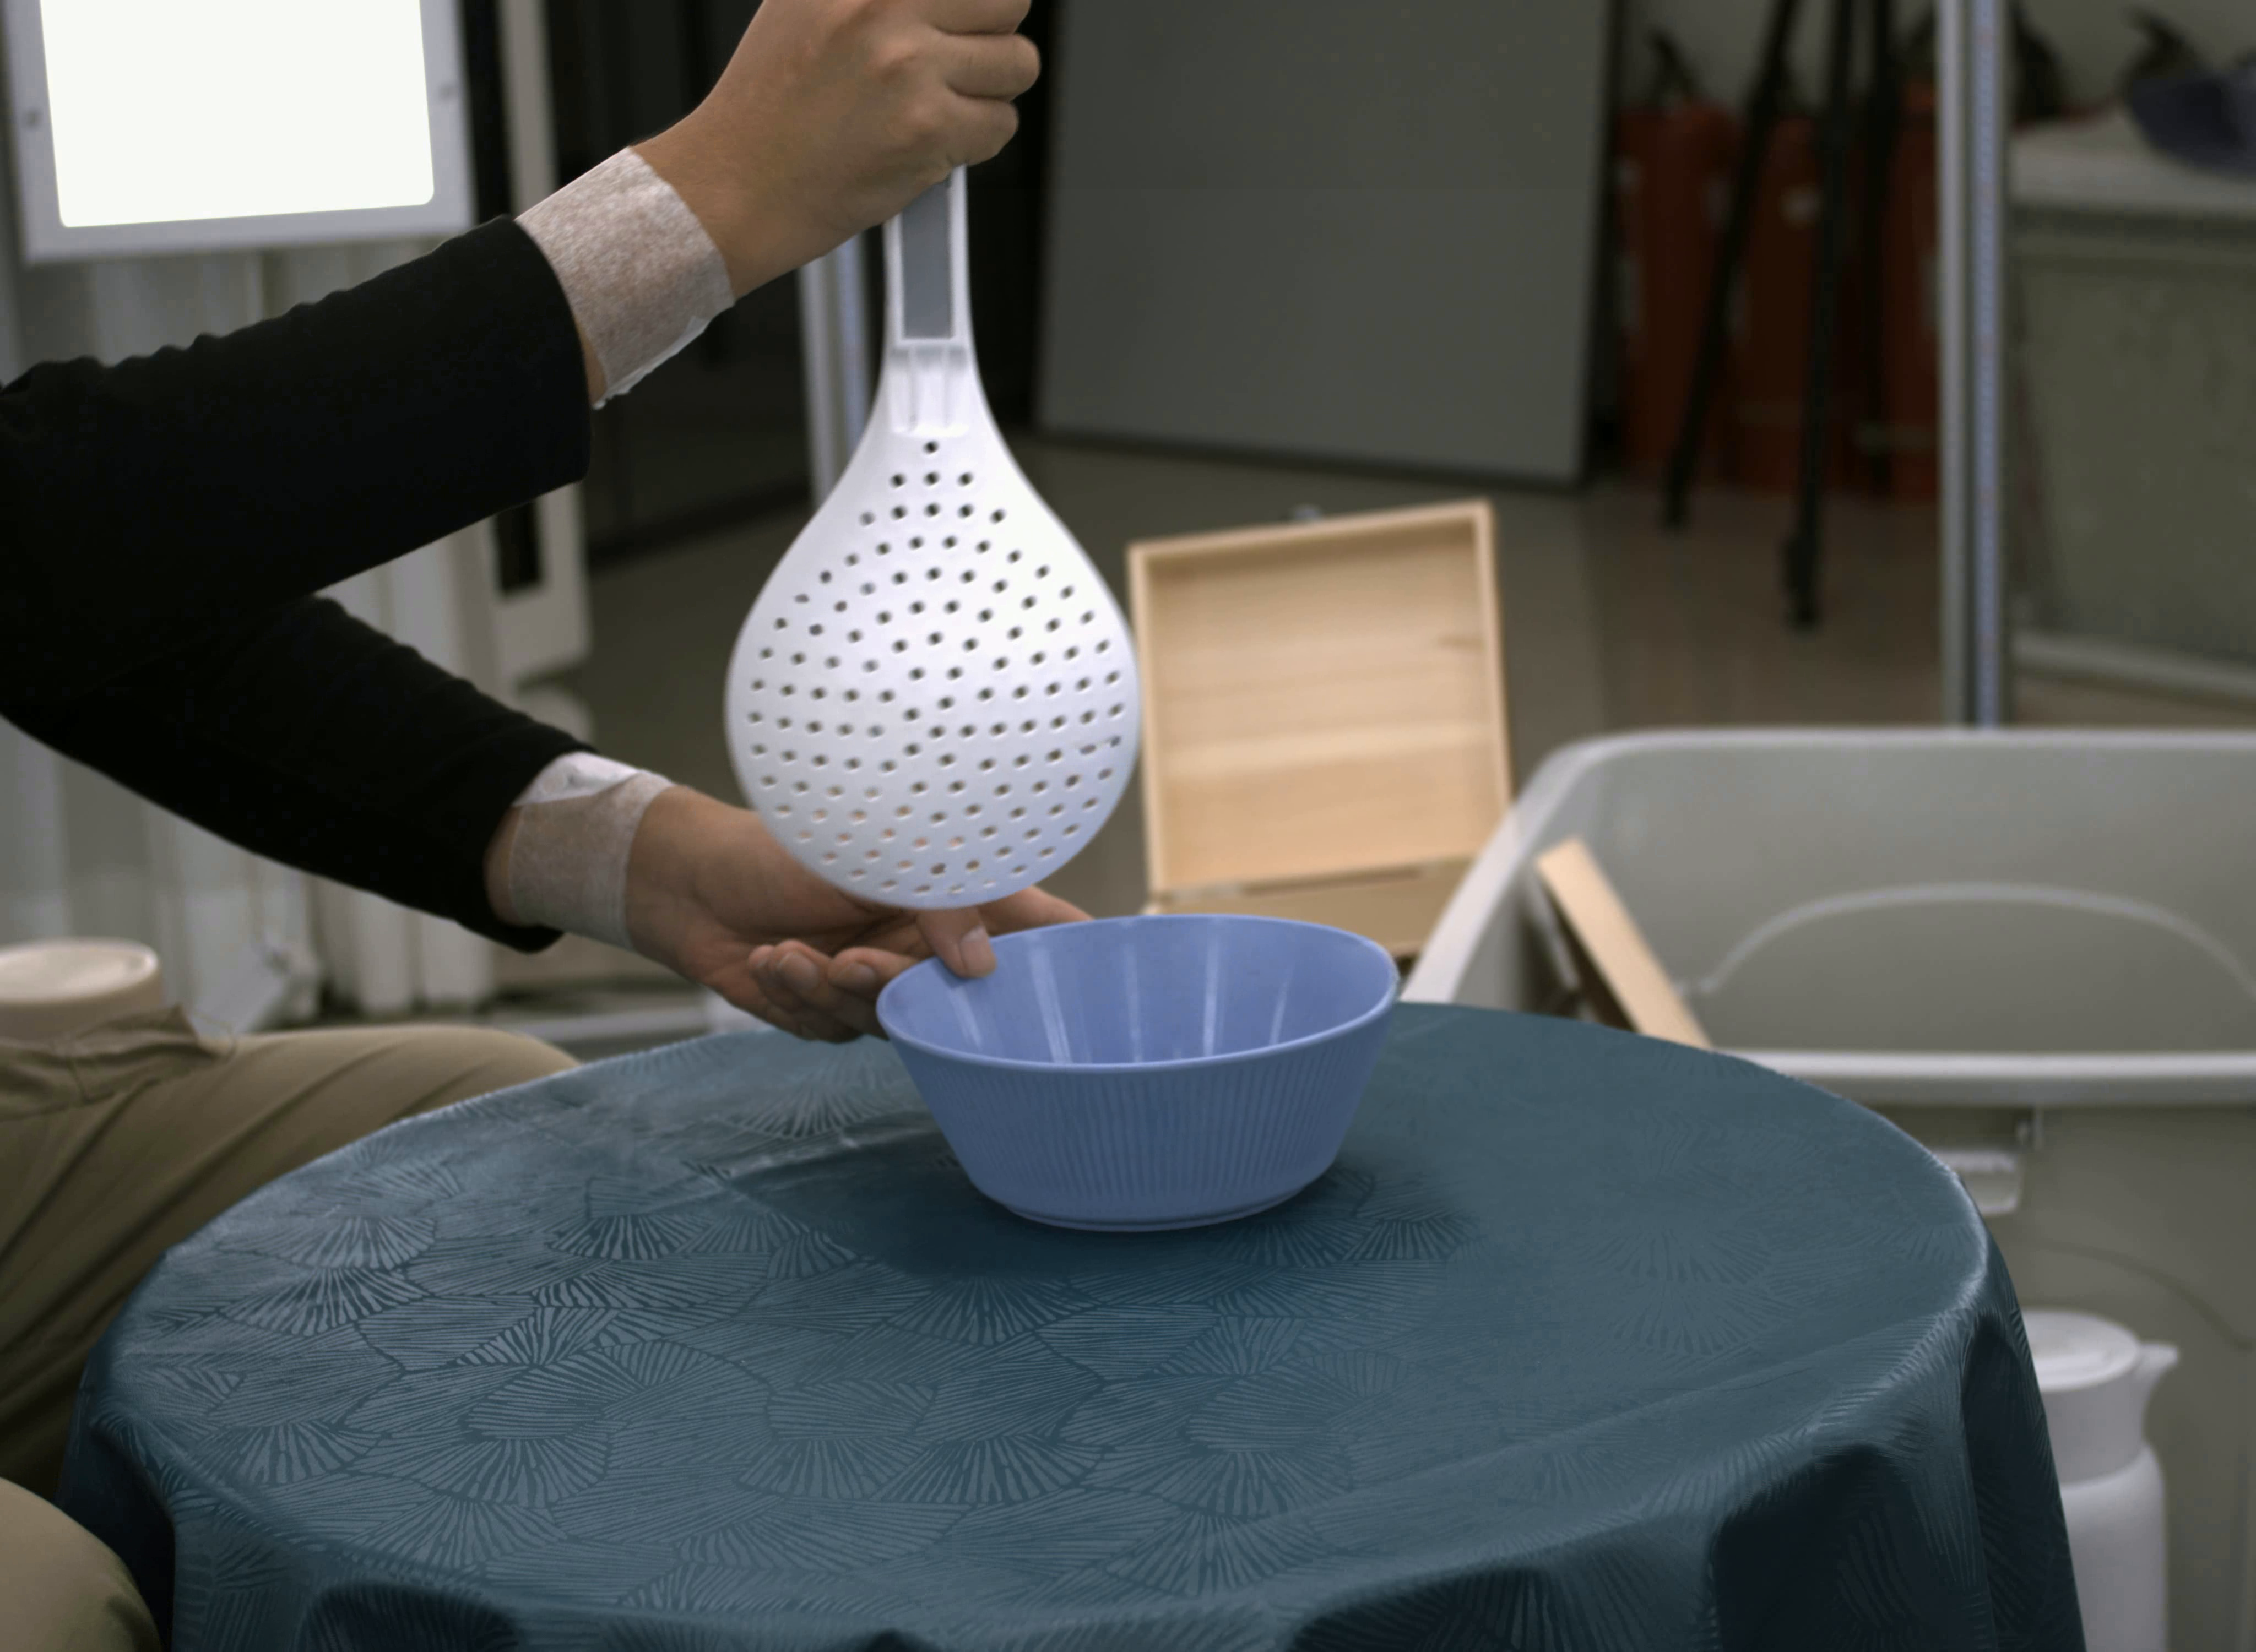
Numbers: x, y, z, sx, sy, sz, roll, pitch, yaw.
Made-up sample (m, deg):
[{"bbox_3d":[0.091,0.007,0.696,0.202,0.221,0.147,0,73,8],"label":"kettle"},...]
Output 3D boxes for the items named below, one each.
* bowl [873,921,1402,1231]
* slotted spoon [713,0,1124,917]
[{"bbox_3d":[0.005,0.084,1.771,0.174,0.071,0.176,-5,13,0],"label":"bowl"},{"bbox_3d":[-0.067,-0.143,1.735,0.134,0.354,0.046,0,7,-1],"label":"slotted spoon"}]
